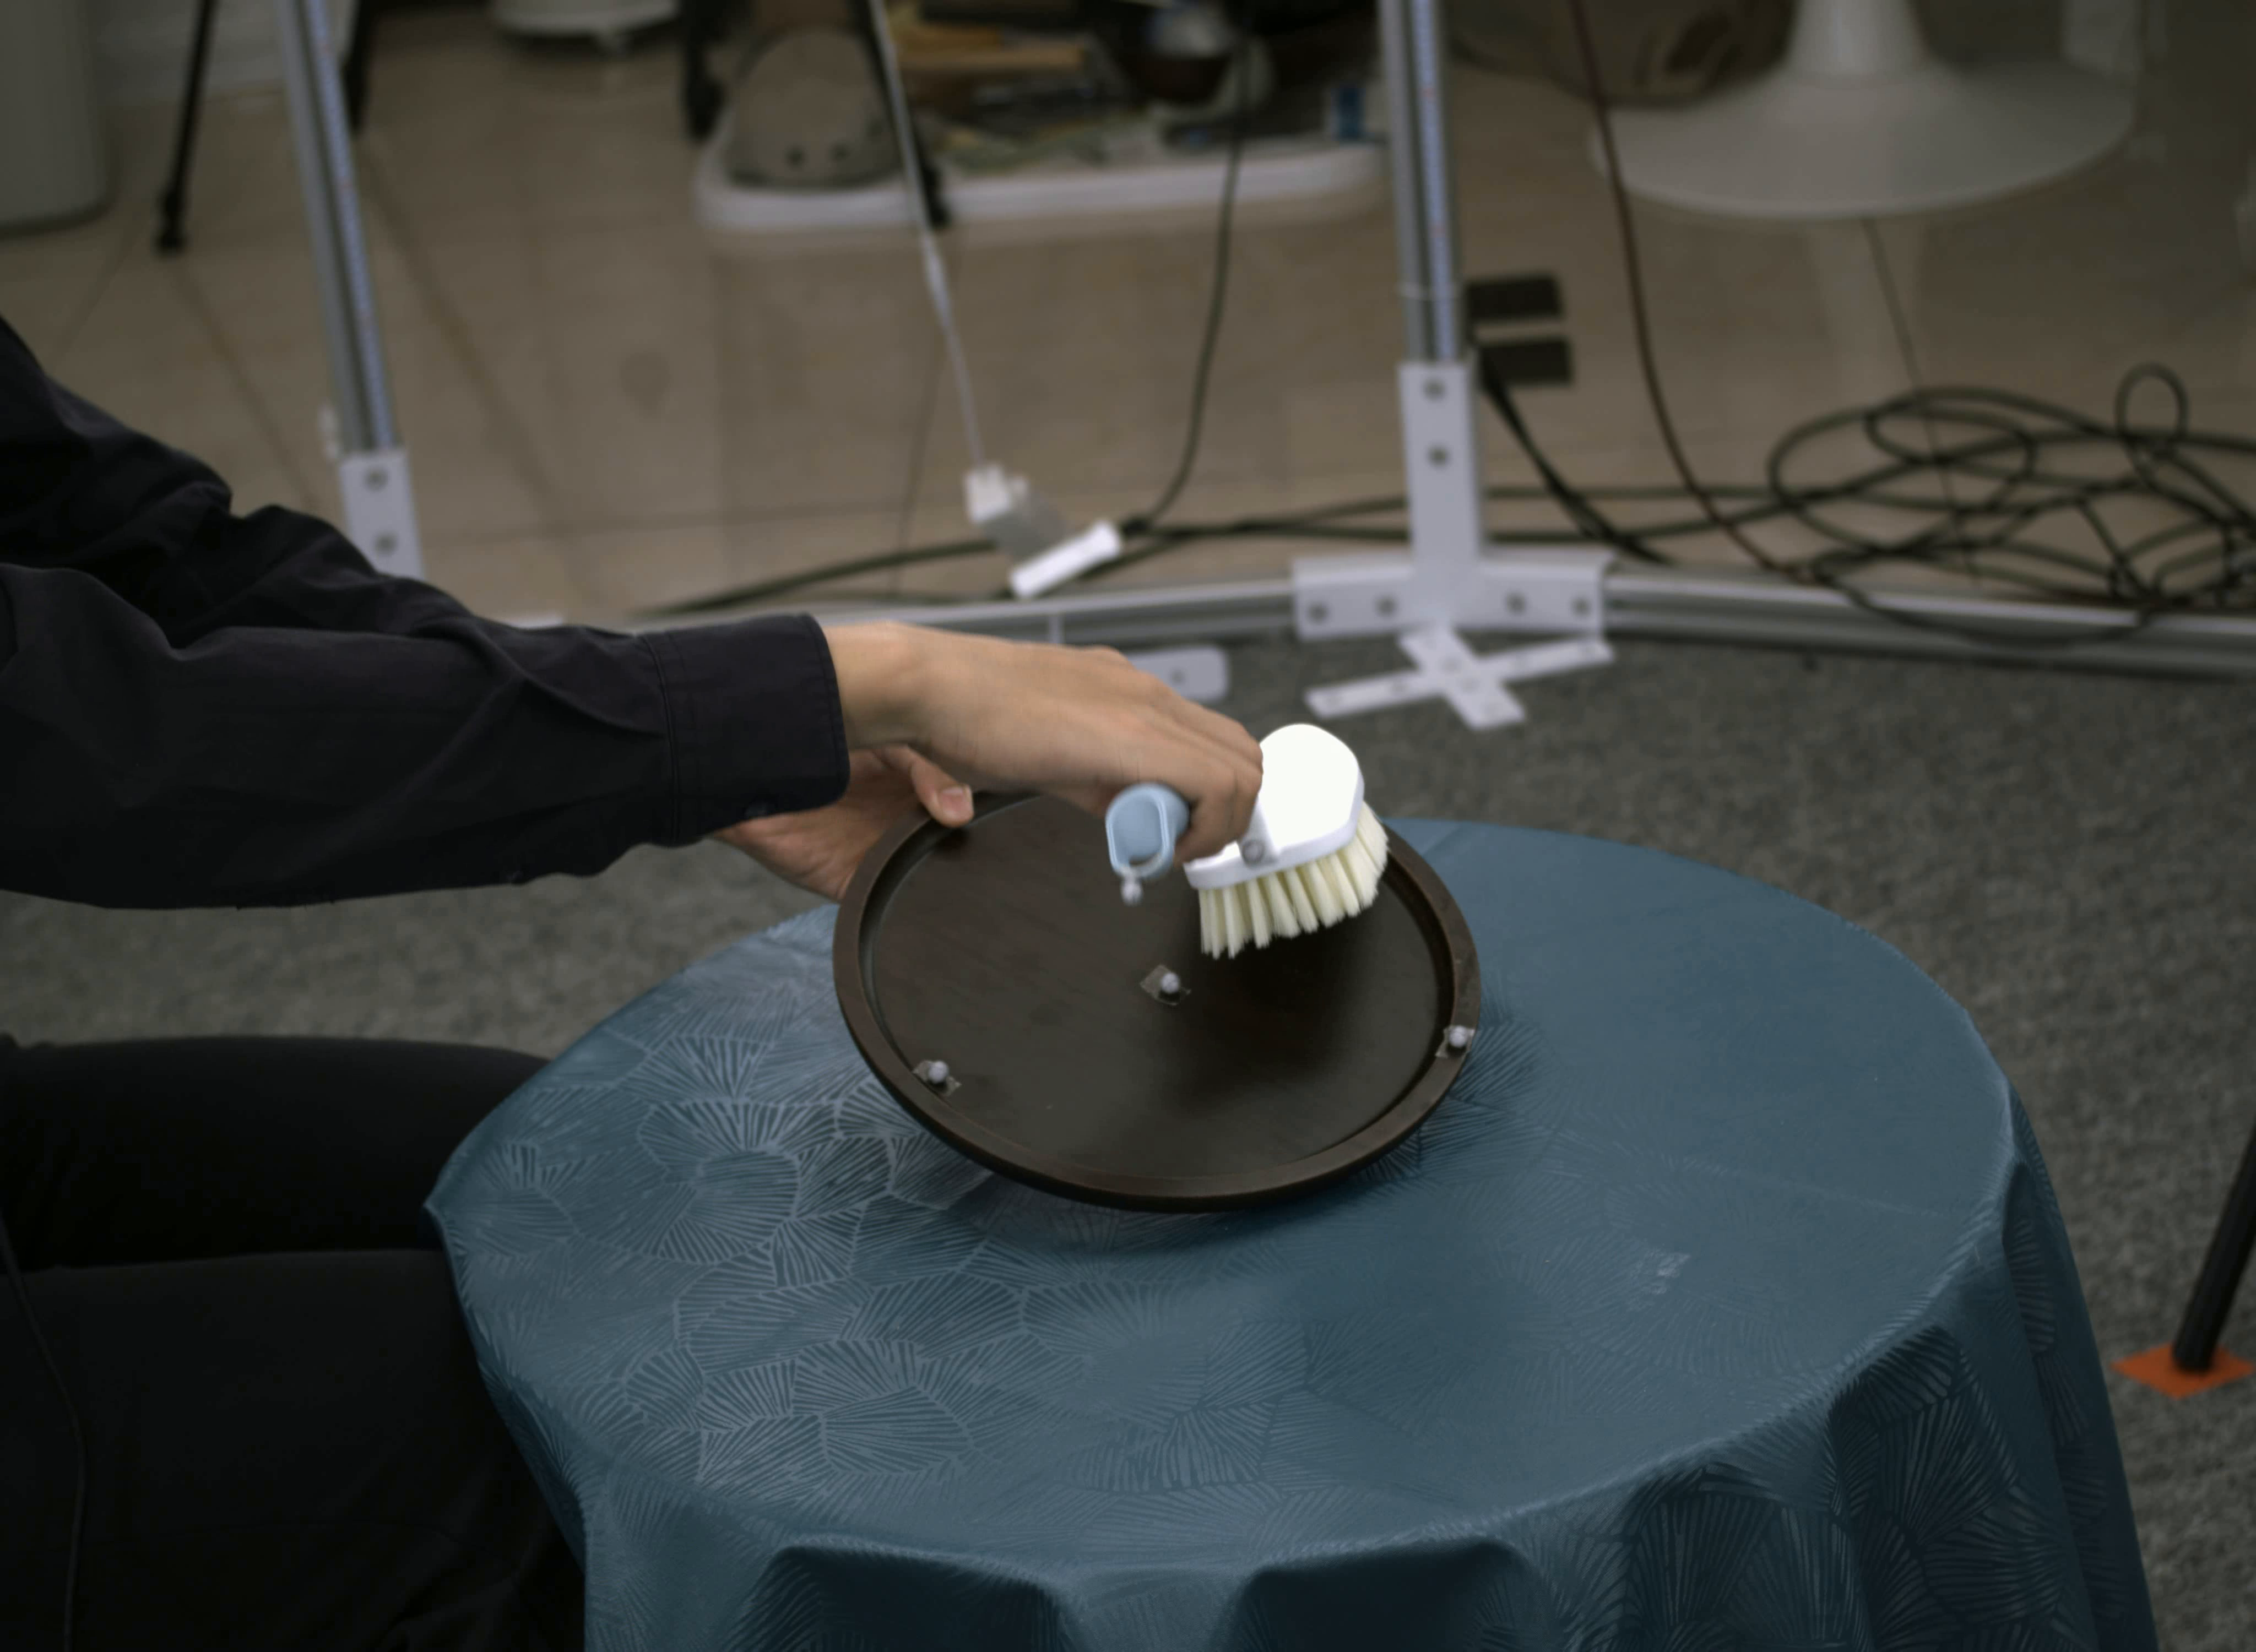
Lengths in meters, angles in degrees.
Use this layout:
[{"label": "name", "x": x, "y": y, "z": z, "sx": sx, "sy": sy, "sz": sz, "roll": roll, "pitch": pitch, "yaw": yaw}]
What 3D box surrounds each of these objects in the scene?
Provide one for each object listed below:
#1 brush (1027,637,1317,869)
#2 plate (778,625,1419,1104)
[{"label": "brush", "x": 0.014, "y": -0.012, "z": 2.127, "sx": 0.084, "sy": 0.084, "sz": 0.323, "roll": 37, "pitch": 14, "yaw": 4}, {"label": "plate", "x": -0.012, "y": 0.016, "z": 2.227, "sx": 0.254, "sy": 0.029, "sz": 0.250, "roll": 3, "pitch": 45, "yaw": -3}]
